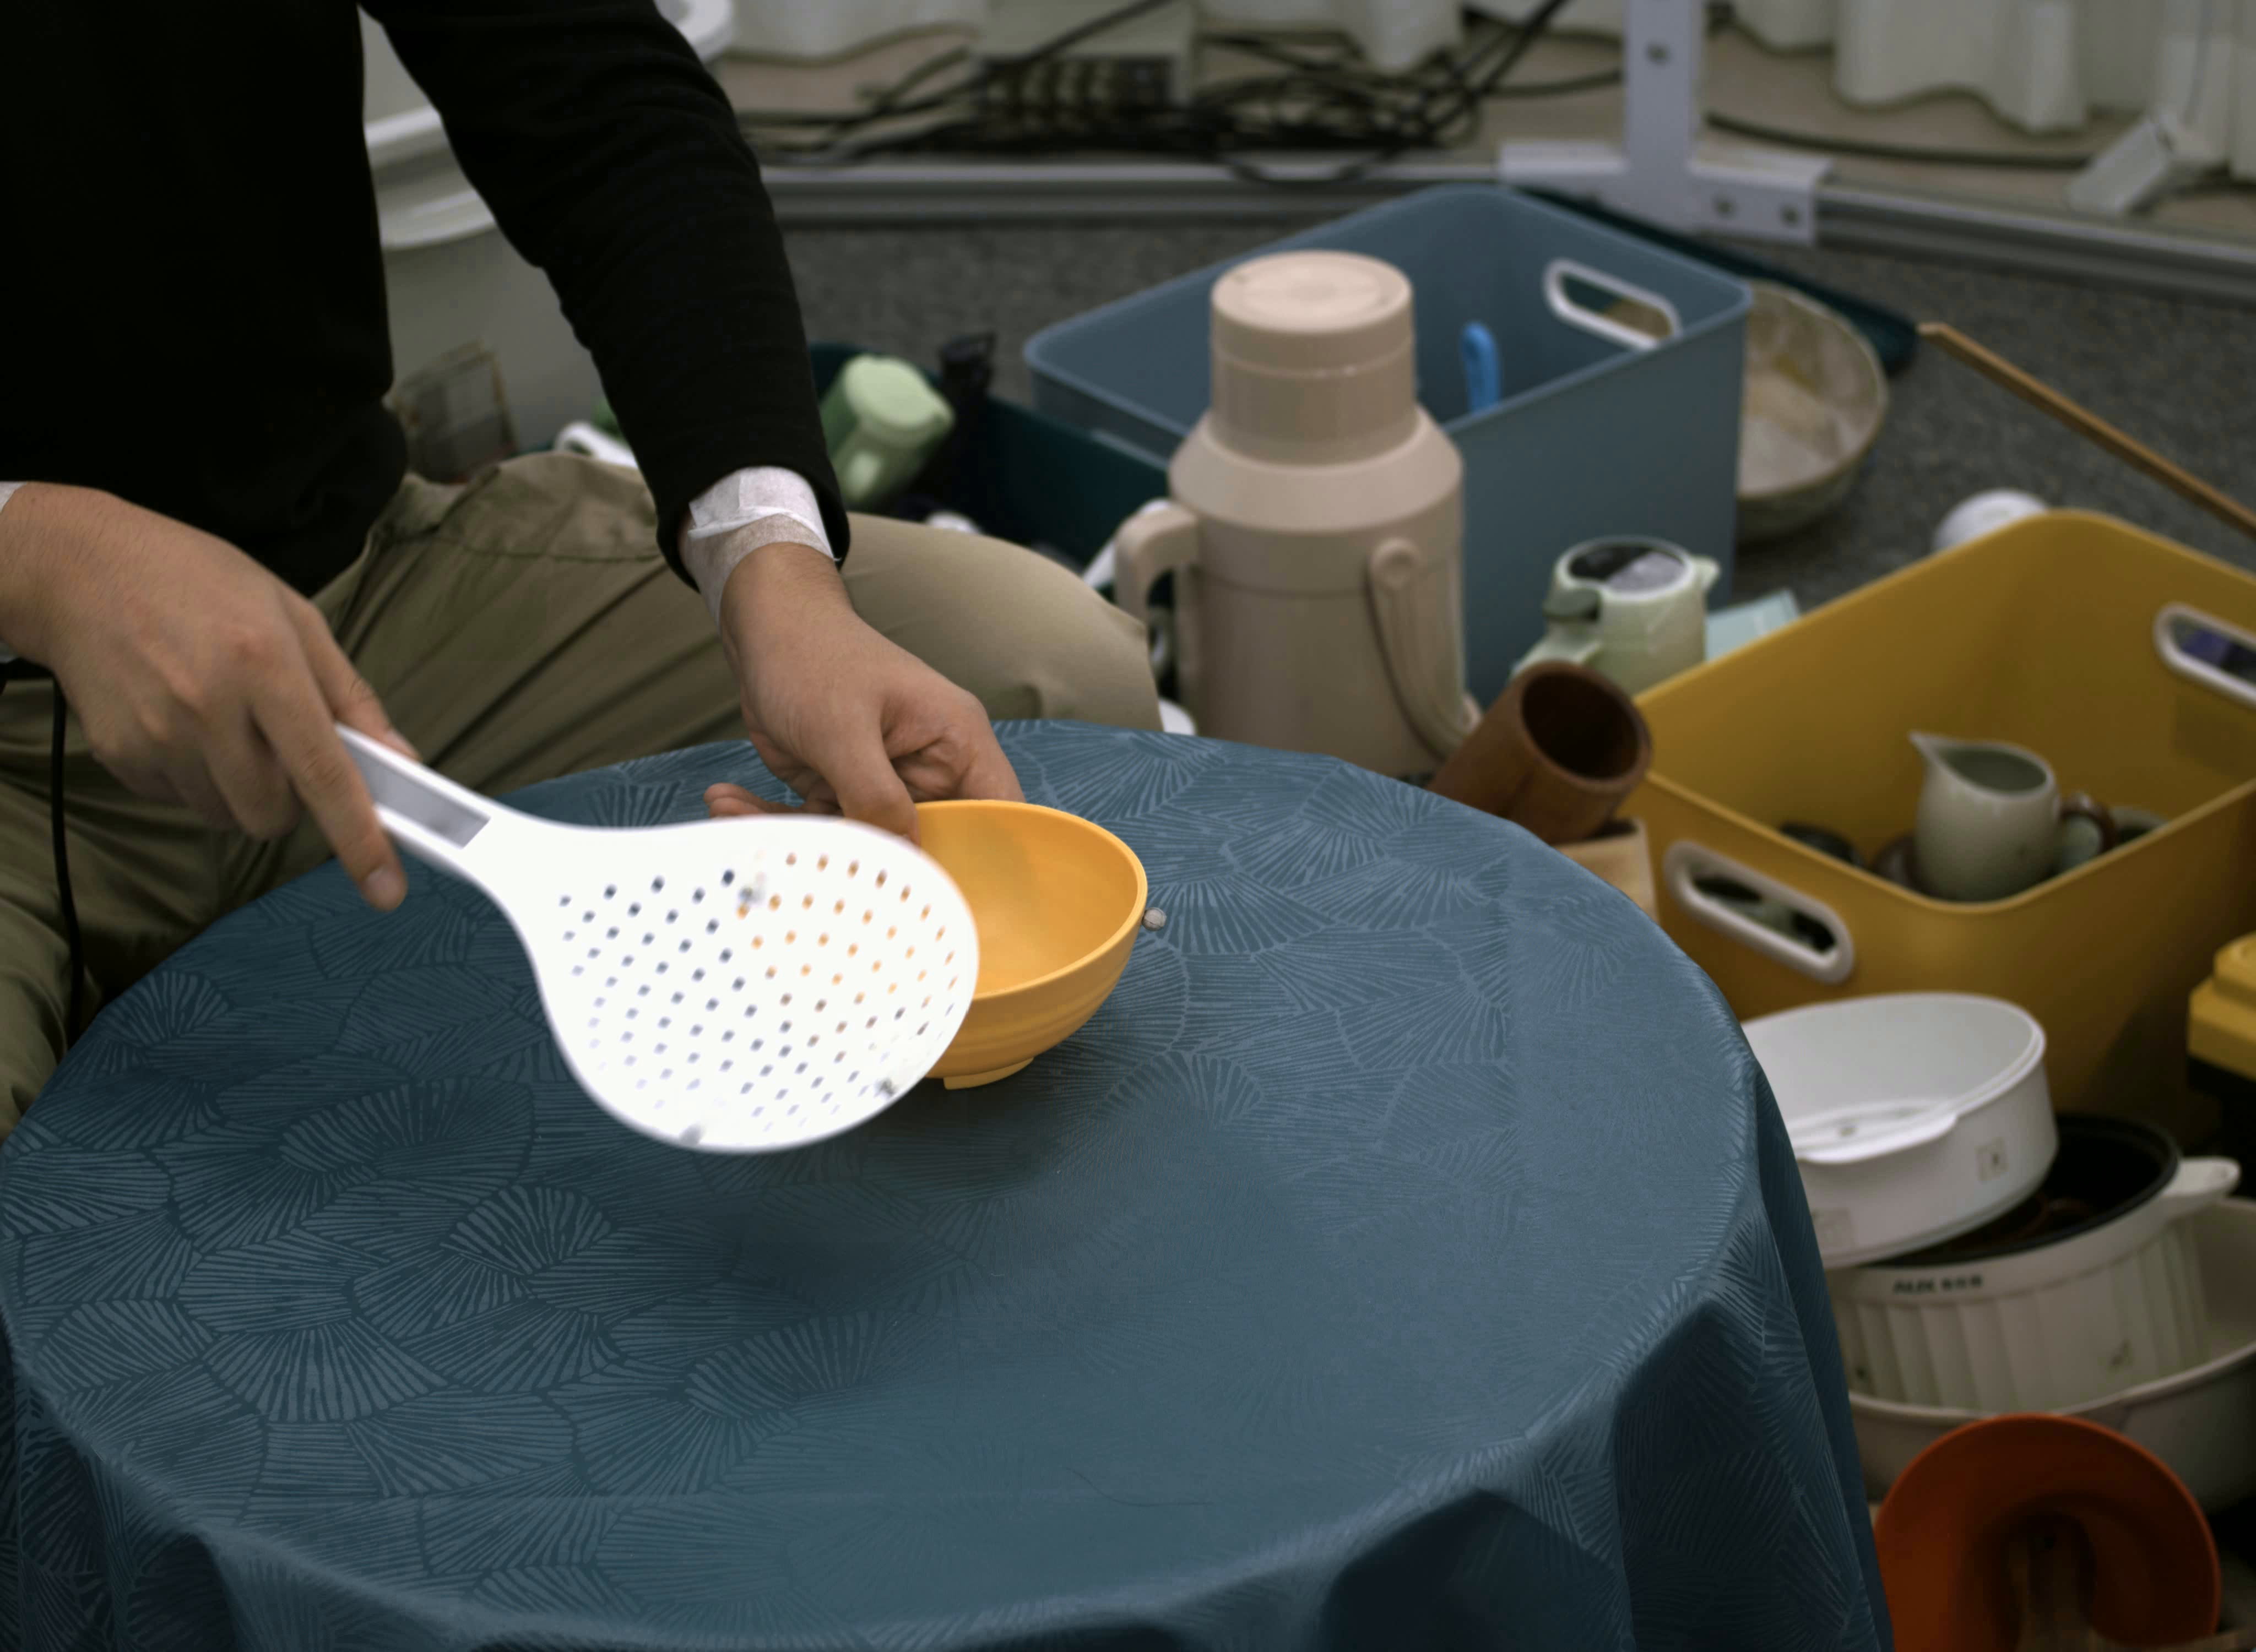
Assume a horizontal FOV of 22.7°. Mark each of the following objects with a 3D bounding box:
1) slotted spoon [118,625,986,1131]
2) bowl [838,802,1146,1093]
[{"bbox_3d":[-0.200,0.008,1.862,0.349,0.045,0.138,27,57,23],"label":"slotted spoon"},{"bbox_3d":[-0.065,0.051,1.943,0.144,0.059,0.147,-1,27,1],"label":"bowl"}]
